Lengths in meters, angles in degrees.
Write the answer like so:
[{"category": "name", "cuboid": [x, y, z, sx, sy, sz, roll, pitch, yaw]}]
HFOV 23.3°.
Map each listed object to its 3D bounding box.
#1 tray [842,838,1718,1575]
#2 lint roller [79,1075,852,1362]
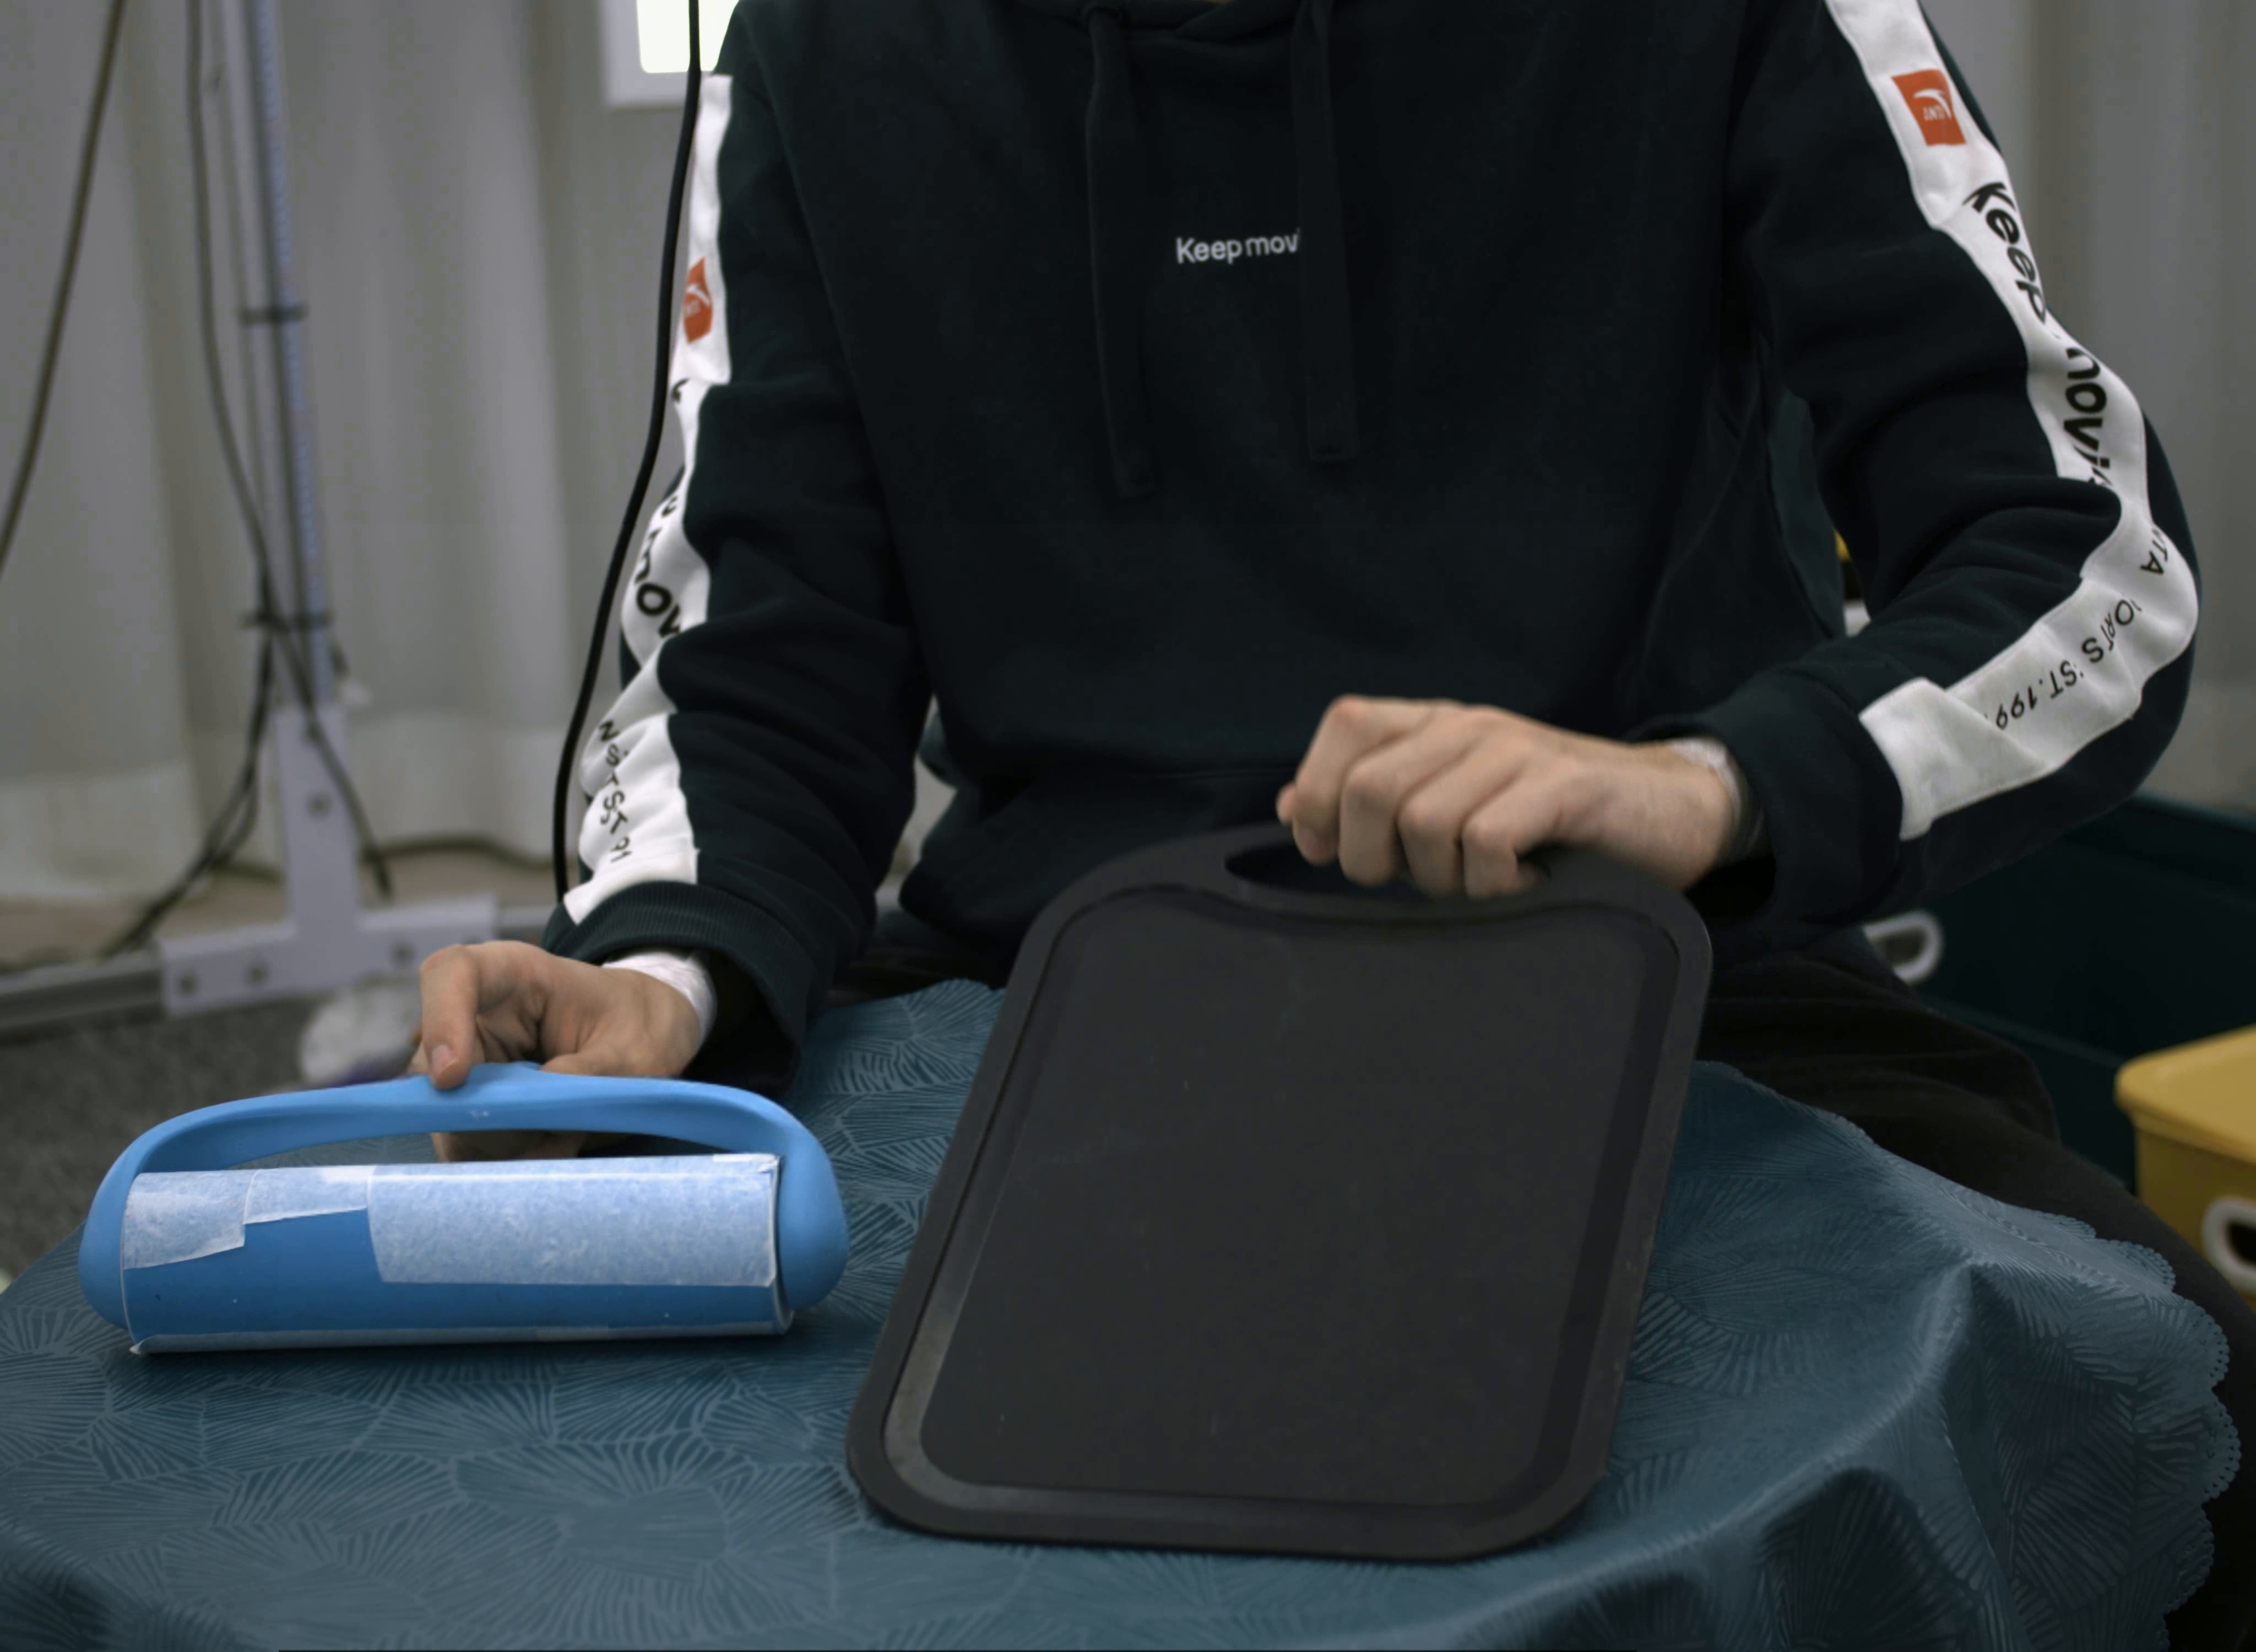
[{"category": "tray", "cuboid": [0.050, 0.096, 1.553, 0.211, 0.009, 0.329, 2, 35, 14]}, {"category": "lint roller", "cuboid": [-0.194, 0.107, 1.663, 0.228, 0.067, 0.182, -4, 18, 2]}]
